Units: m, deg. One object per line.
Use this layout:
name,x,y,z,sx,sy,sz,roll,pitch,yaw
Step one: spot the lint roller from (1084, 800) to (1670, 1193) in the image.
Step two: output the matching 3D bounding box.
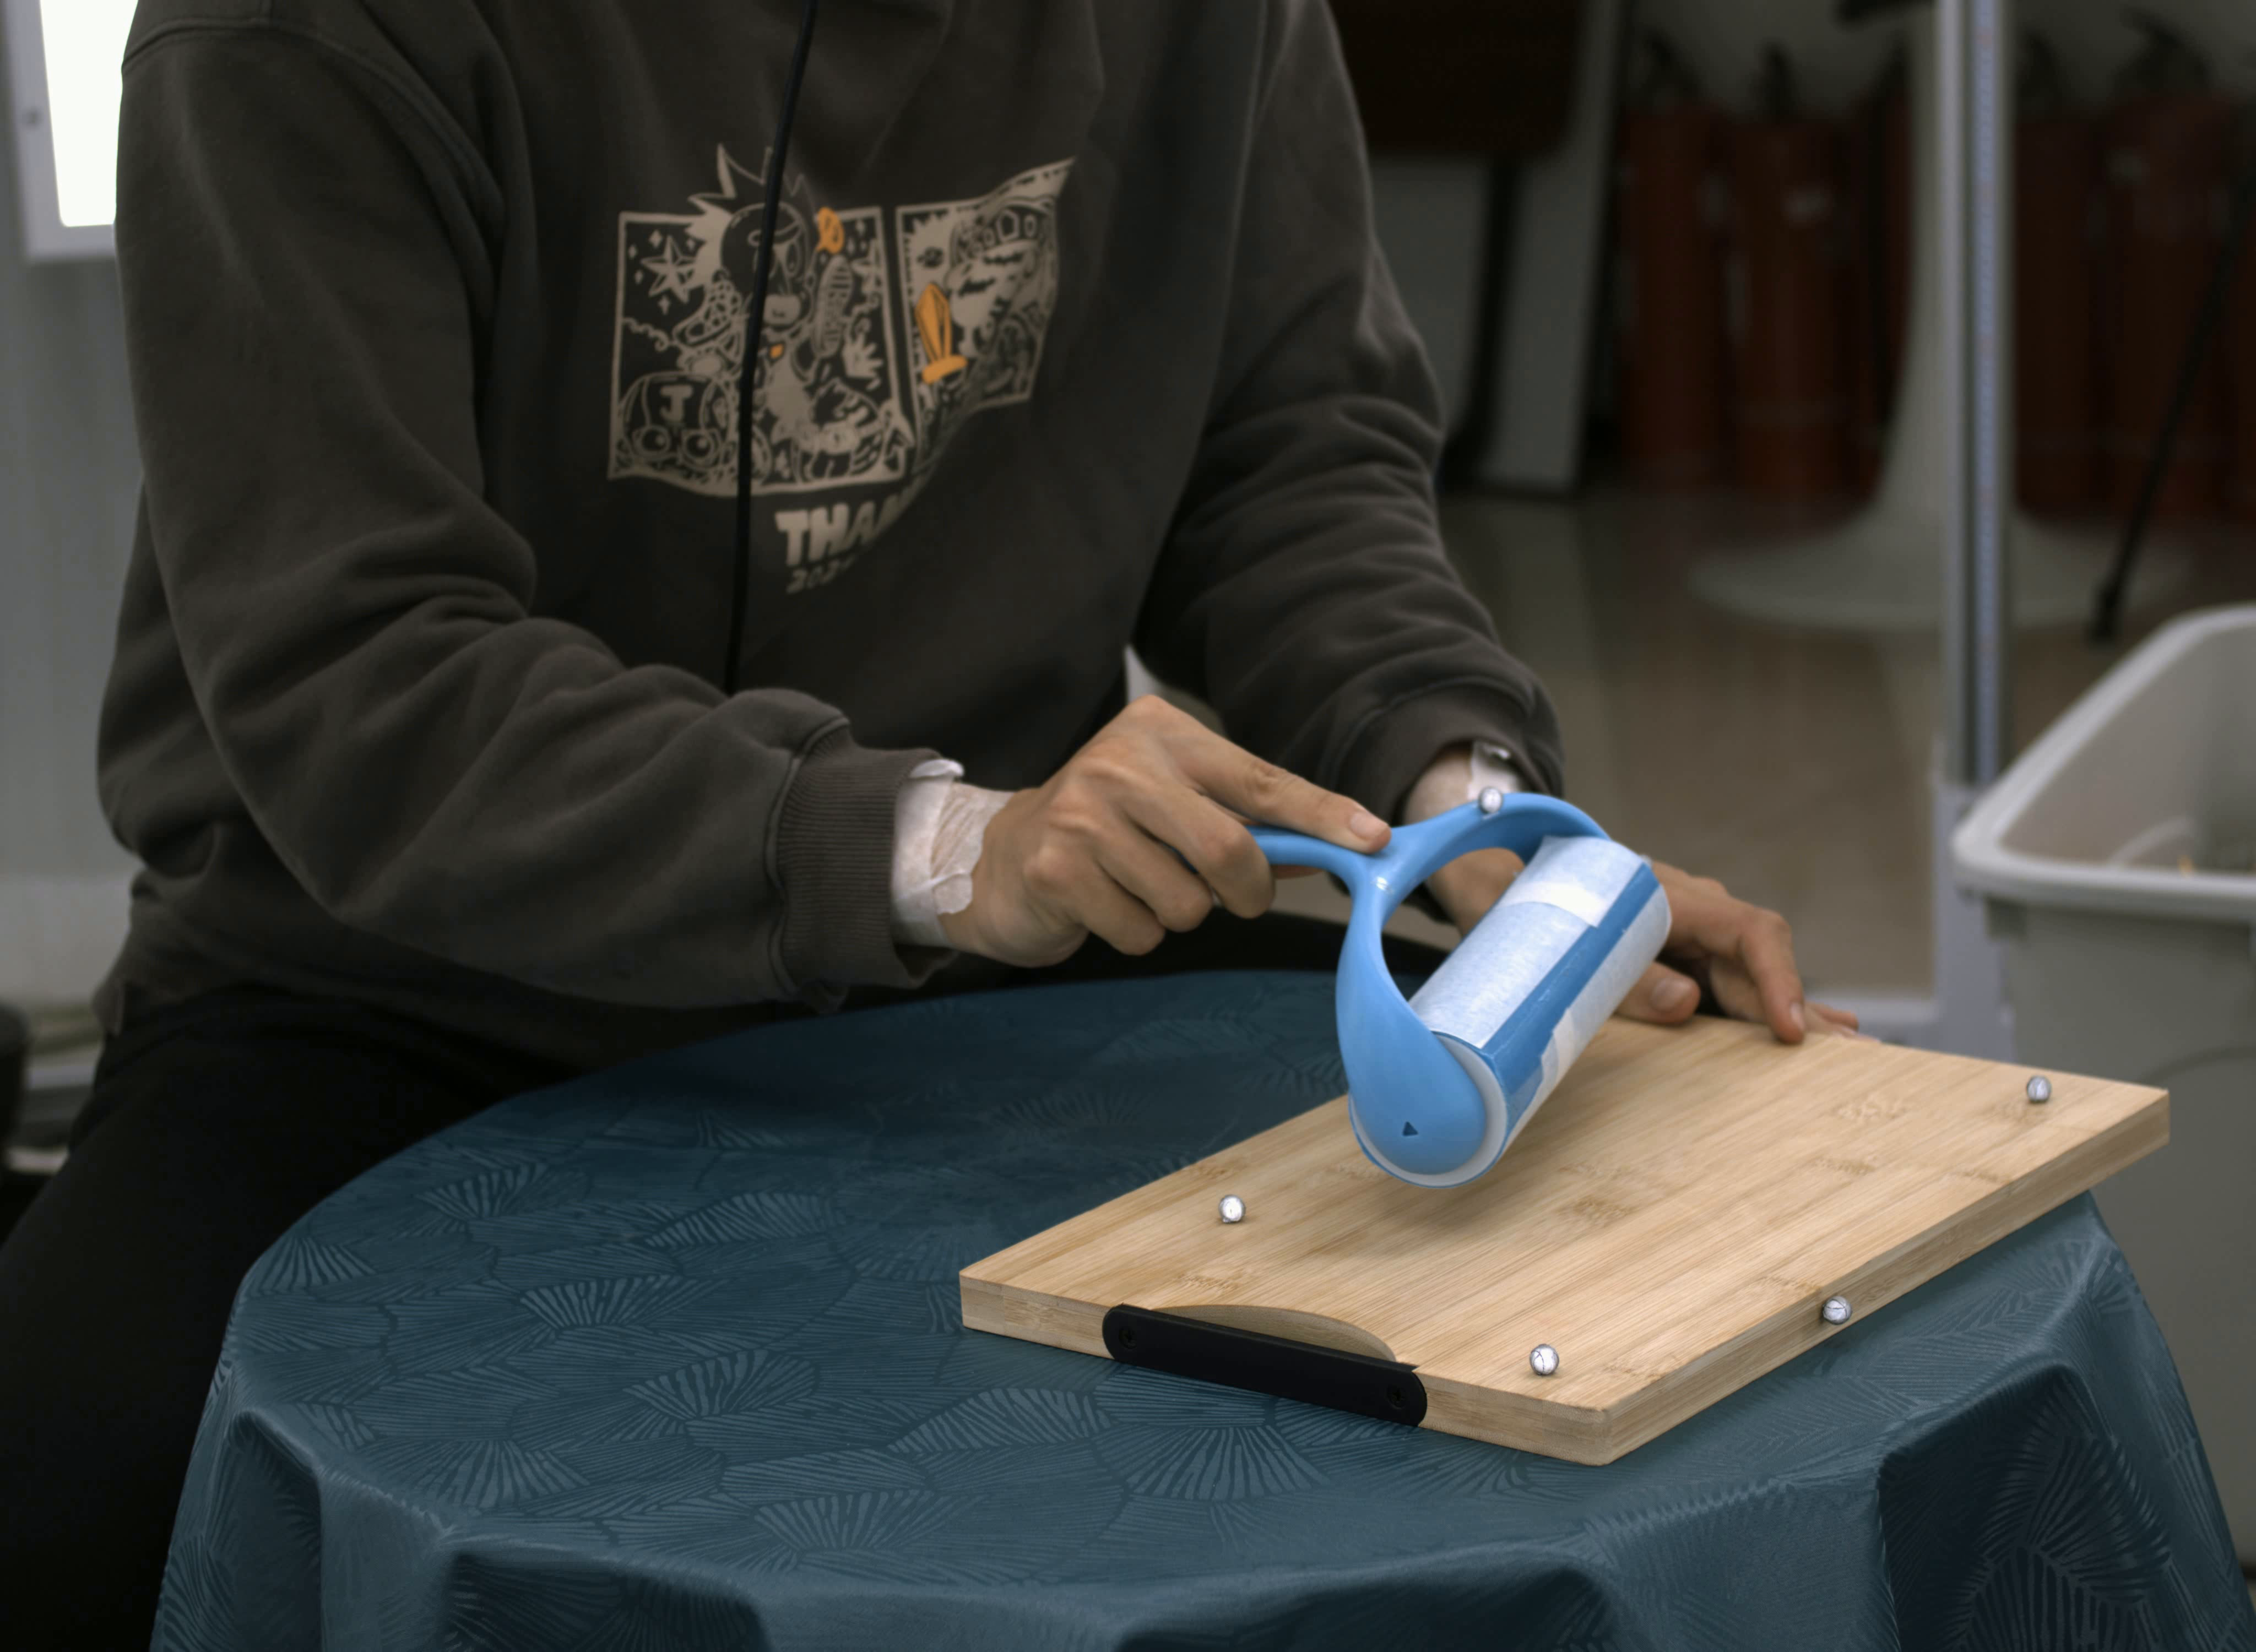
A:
lint roller,0.074,0.037,1.742,0.179,0.068,0.227,20,24,10

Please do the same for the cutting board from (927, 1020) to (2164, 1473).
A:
cutting board,0.139,0.123,1.694,0.252,0.024,0.342,6,17,38
